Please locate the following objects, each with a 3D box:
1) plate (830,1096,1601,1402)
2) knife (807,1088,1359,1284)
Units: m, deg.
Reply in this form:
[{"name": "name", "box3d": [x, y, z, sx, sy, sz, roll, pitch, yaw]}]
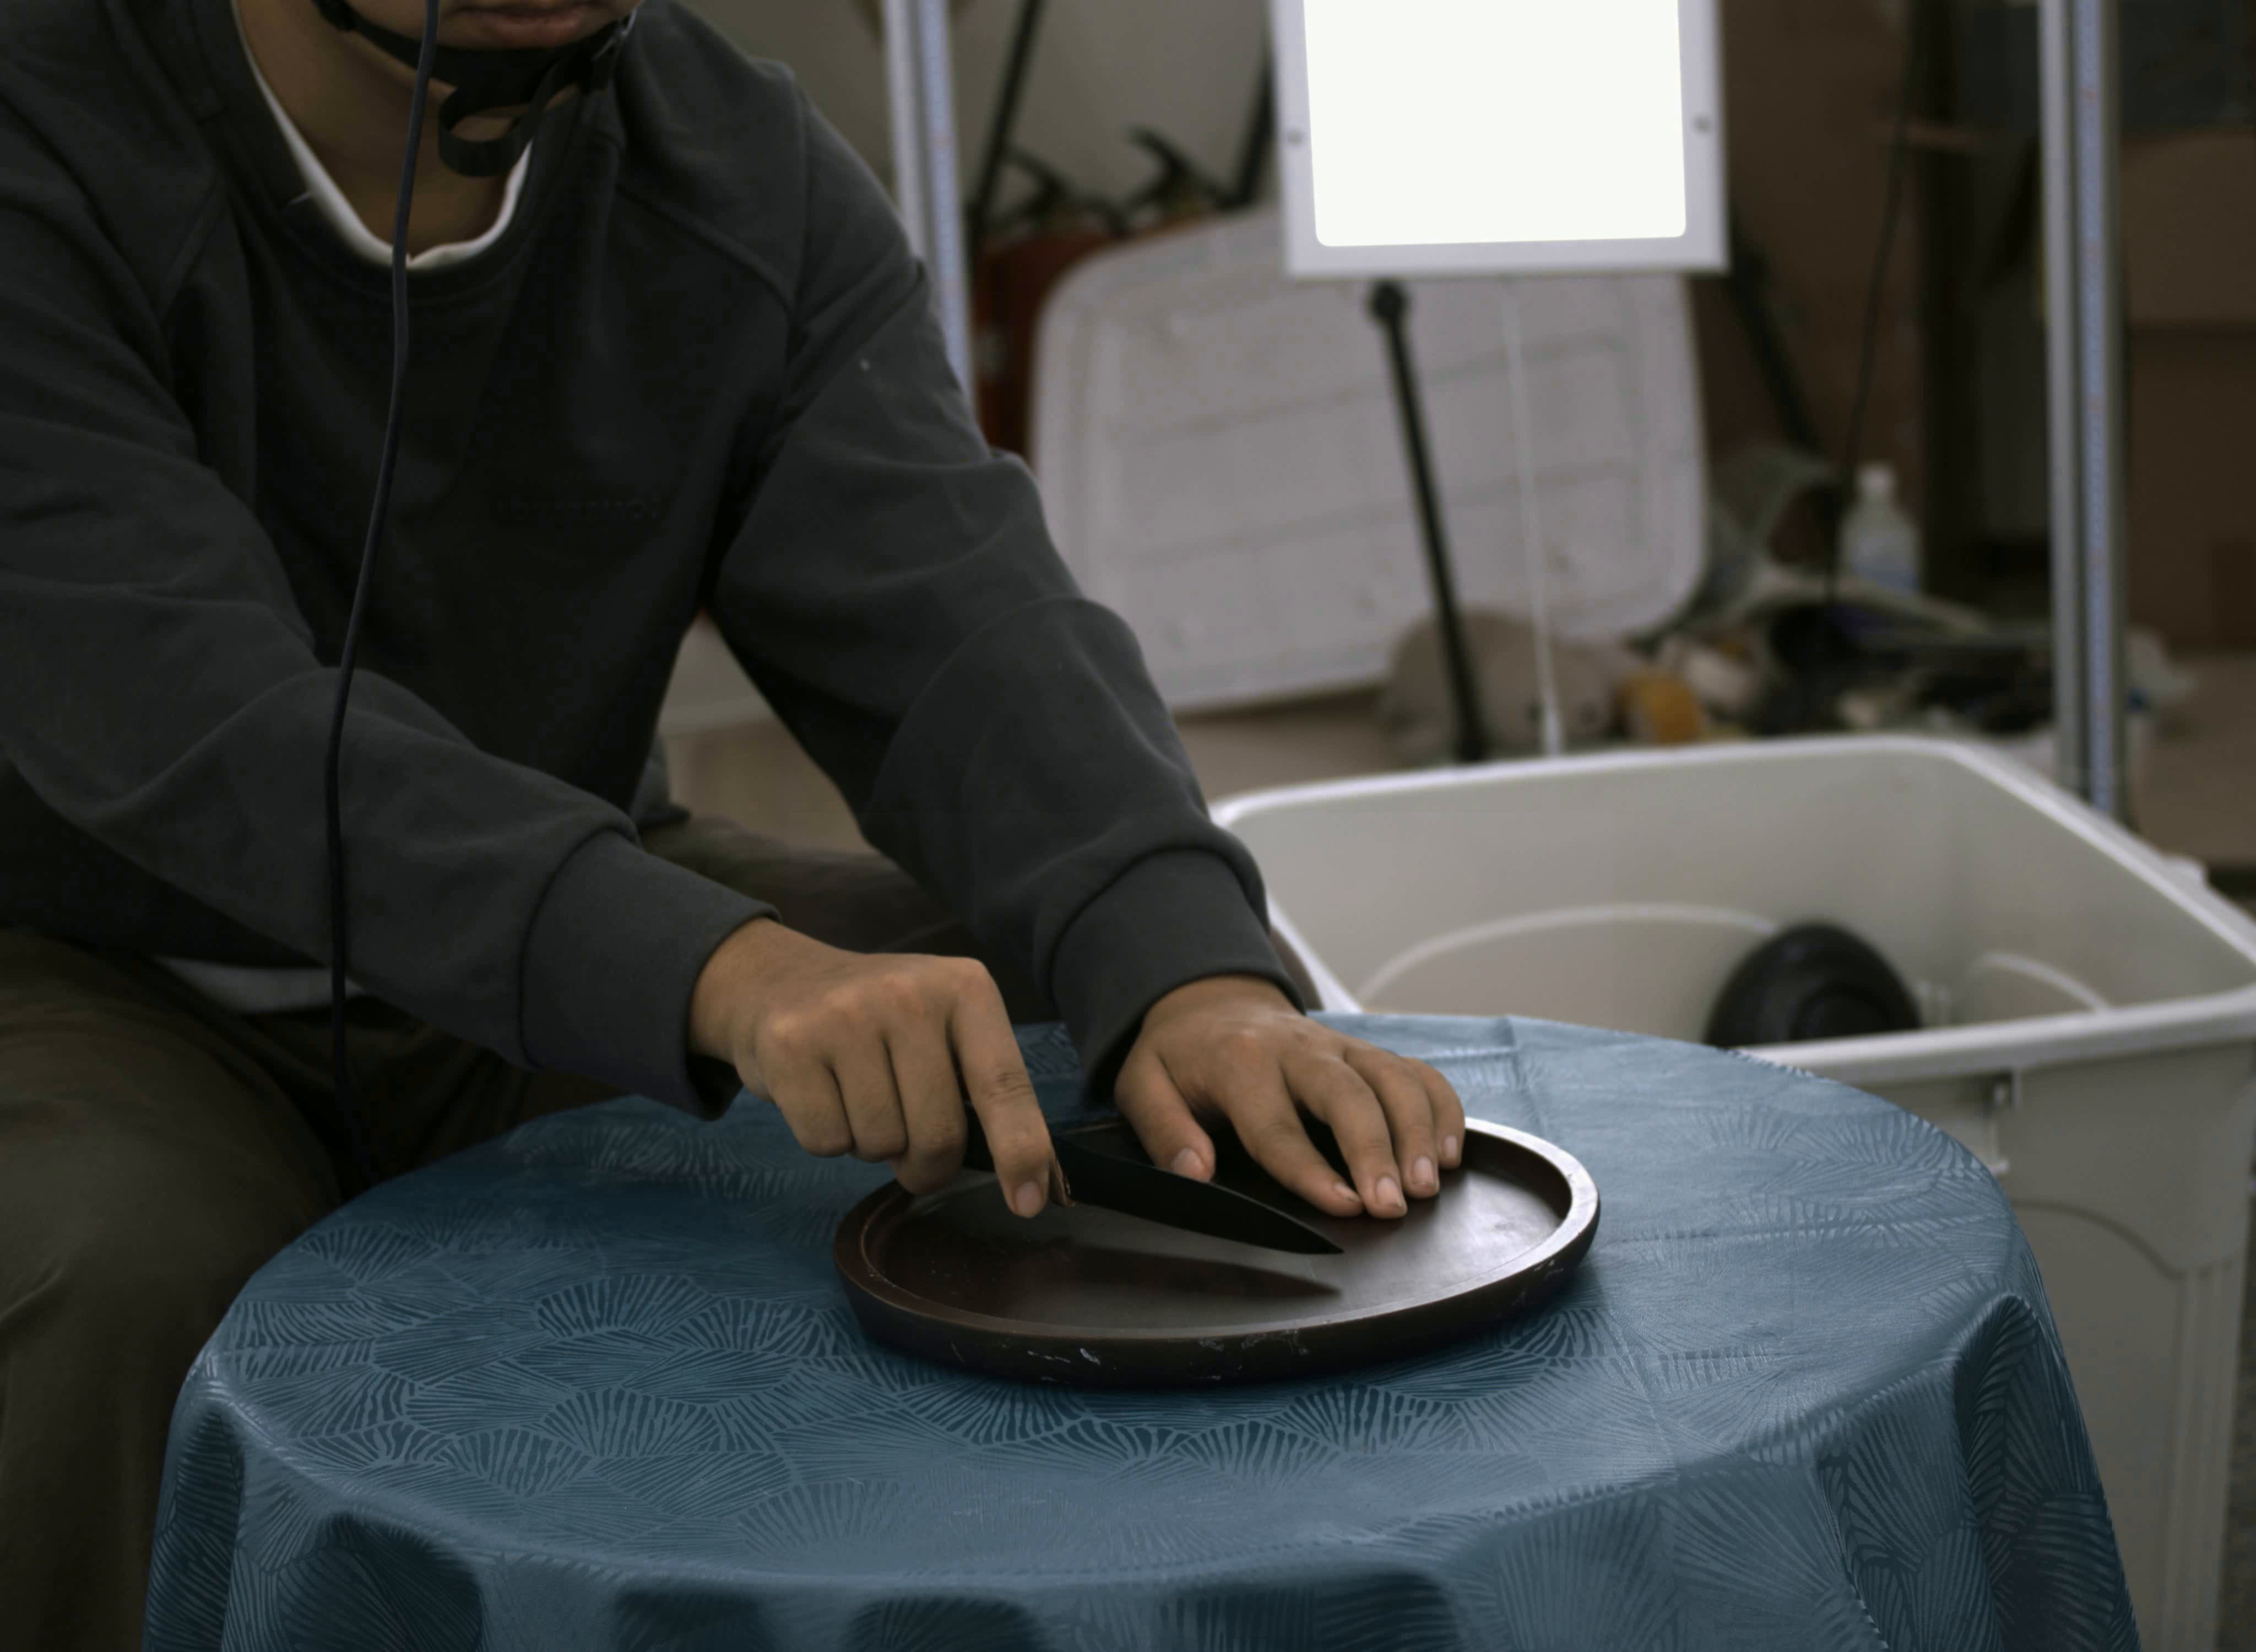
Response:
[{"name": "plate", "box3d": [0.029, 0.136, 1.801, 0.254, 0.029, 0.254, -7, 13, 0]}, {"name": "knife", "box3d": [-0.017, 0.118, 1.819, 0.230, 0.026, 0.017, 13, 28, 36]}]
